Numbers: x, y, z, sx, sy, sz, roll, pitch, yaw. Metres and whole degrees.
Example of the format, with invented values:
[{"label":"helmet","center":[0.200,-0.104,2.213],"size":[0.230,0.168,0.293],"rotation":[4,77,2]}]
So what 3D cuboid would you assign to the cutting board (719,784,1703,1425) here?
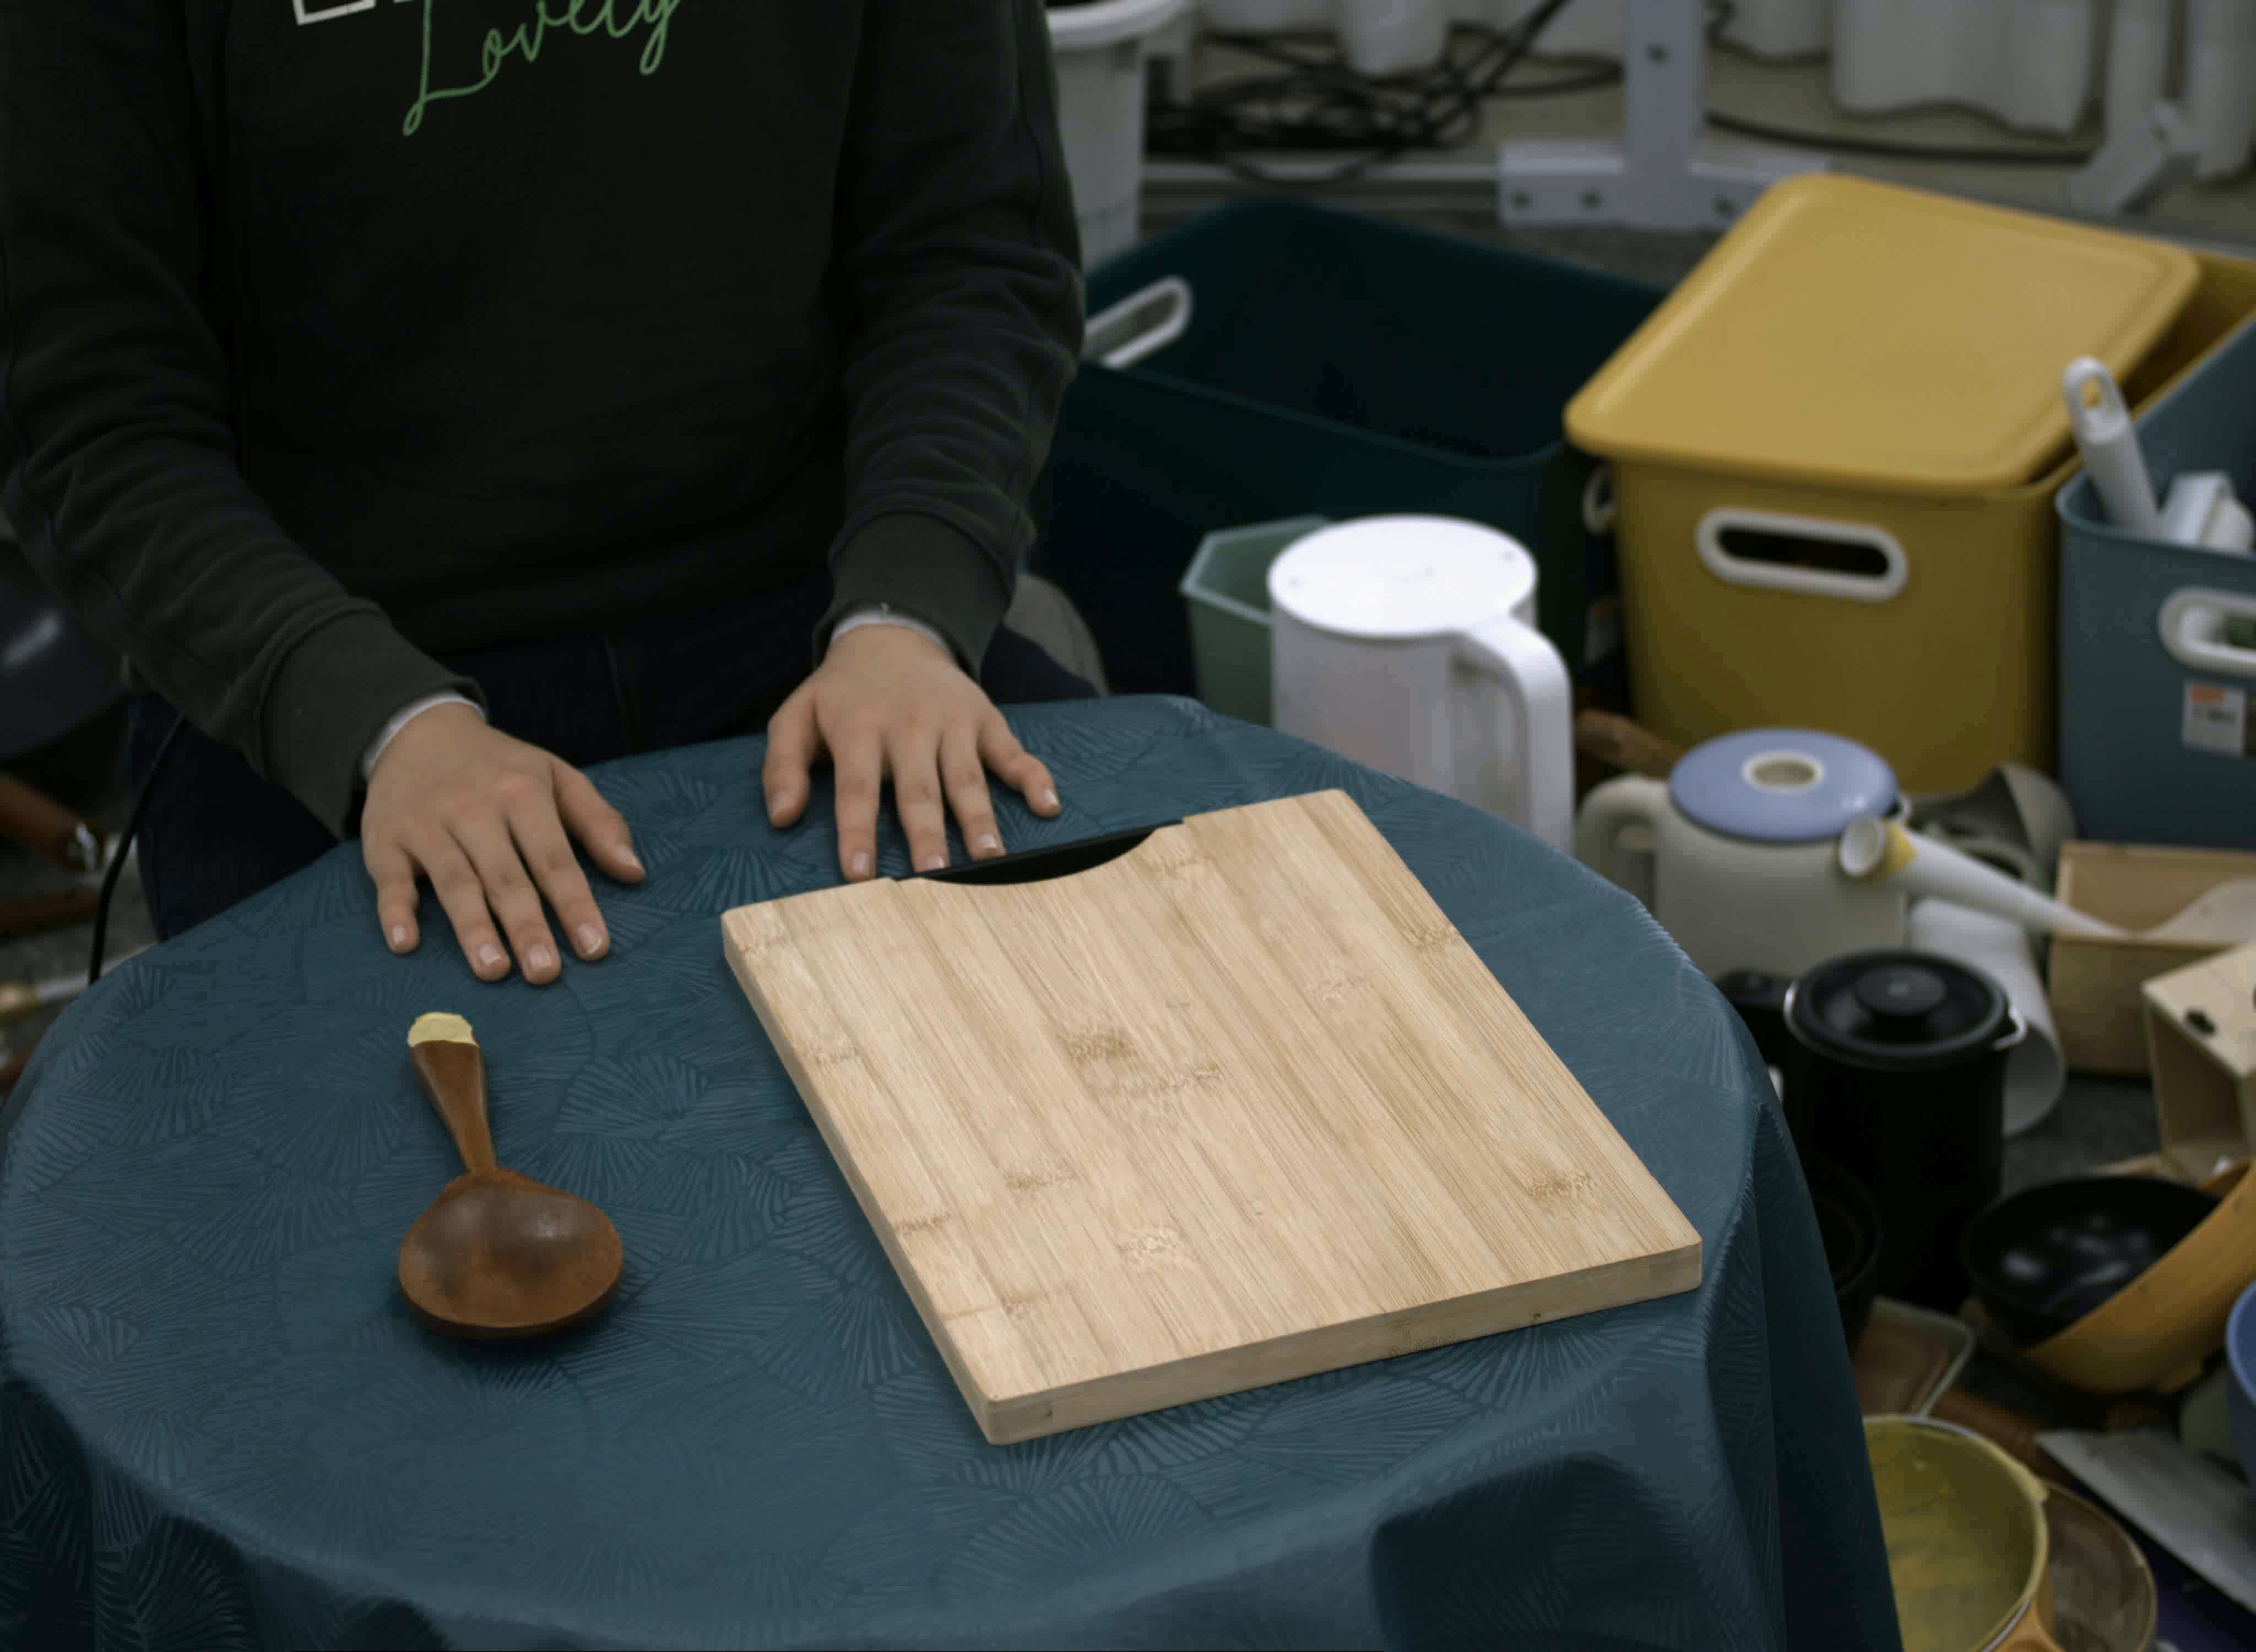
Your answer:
[{"label":"cutting board","center":[0.018,0.087,1.908],"size":[0.251,0.023,0.352],"rotation":[-11,28,-16]}]

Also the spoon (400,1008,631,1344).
[{"label":"spoon","center":[-0.214,0.117,1.872],"size":[0.075,0.017,0.218],"rotation":[-11,29,-11]}]
